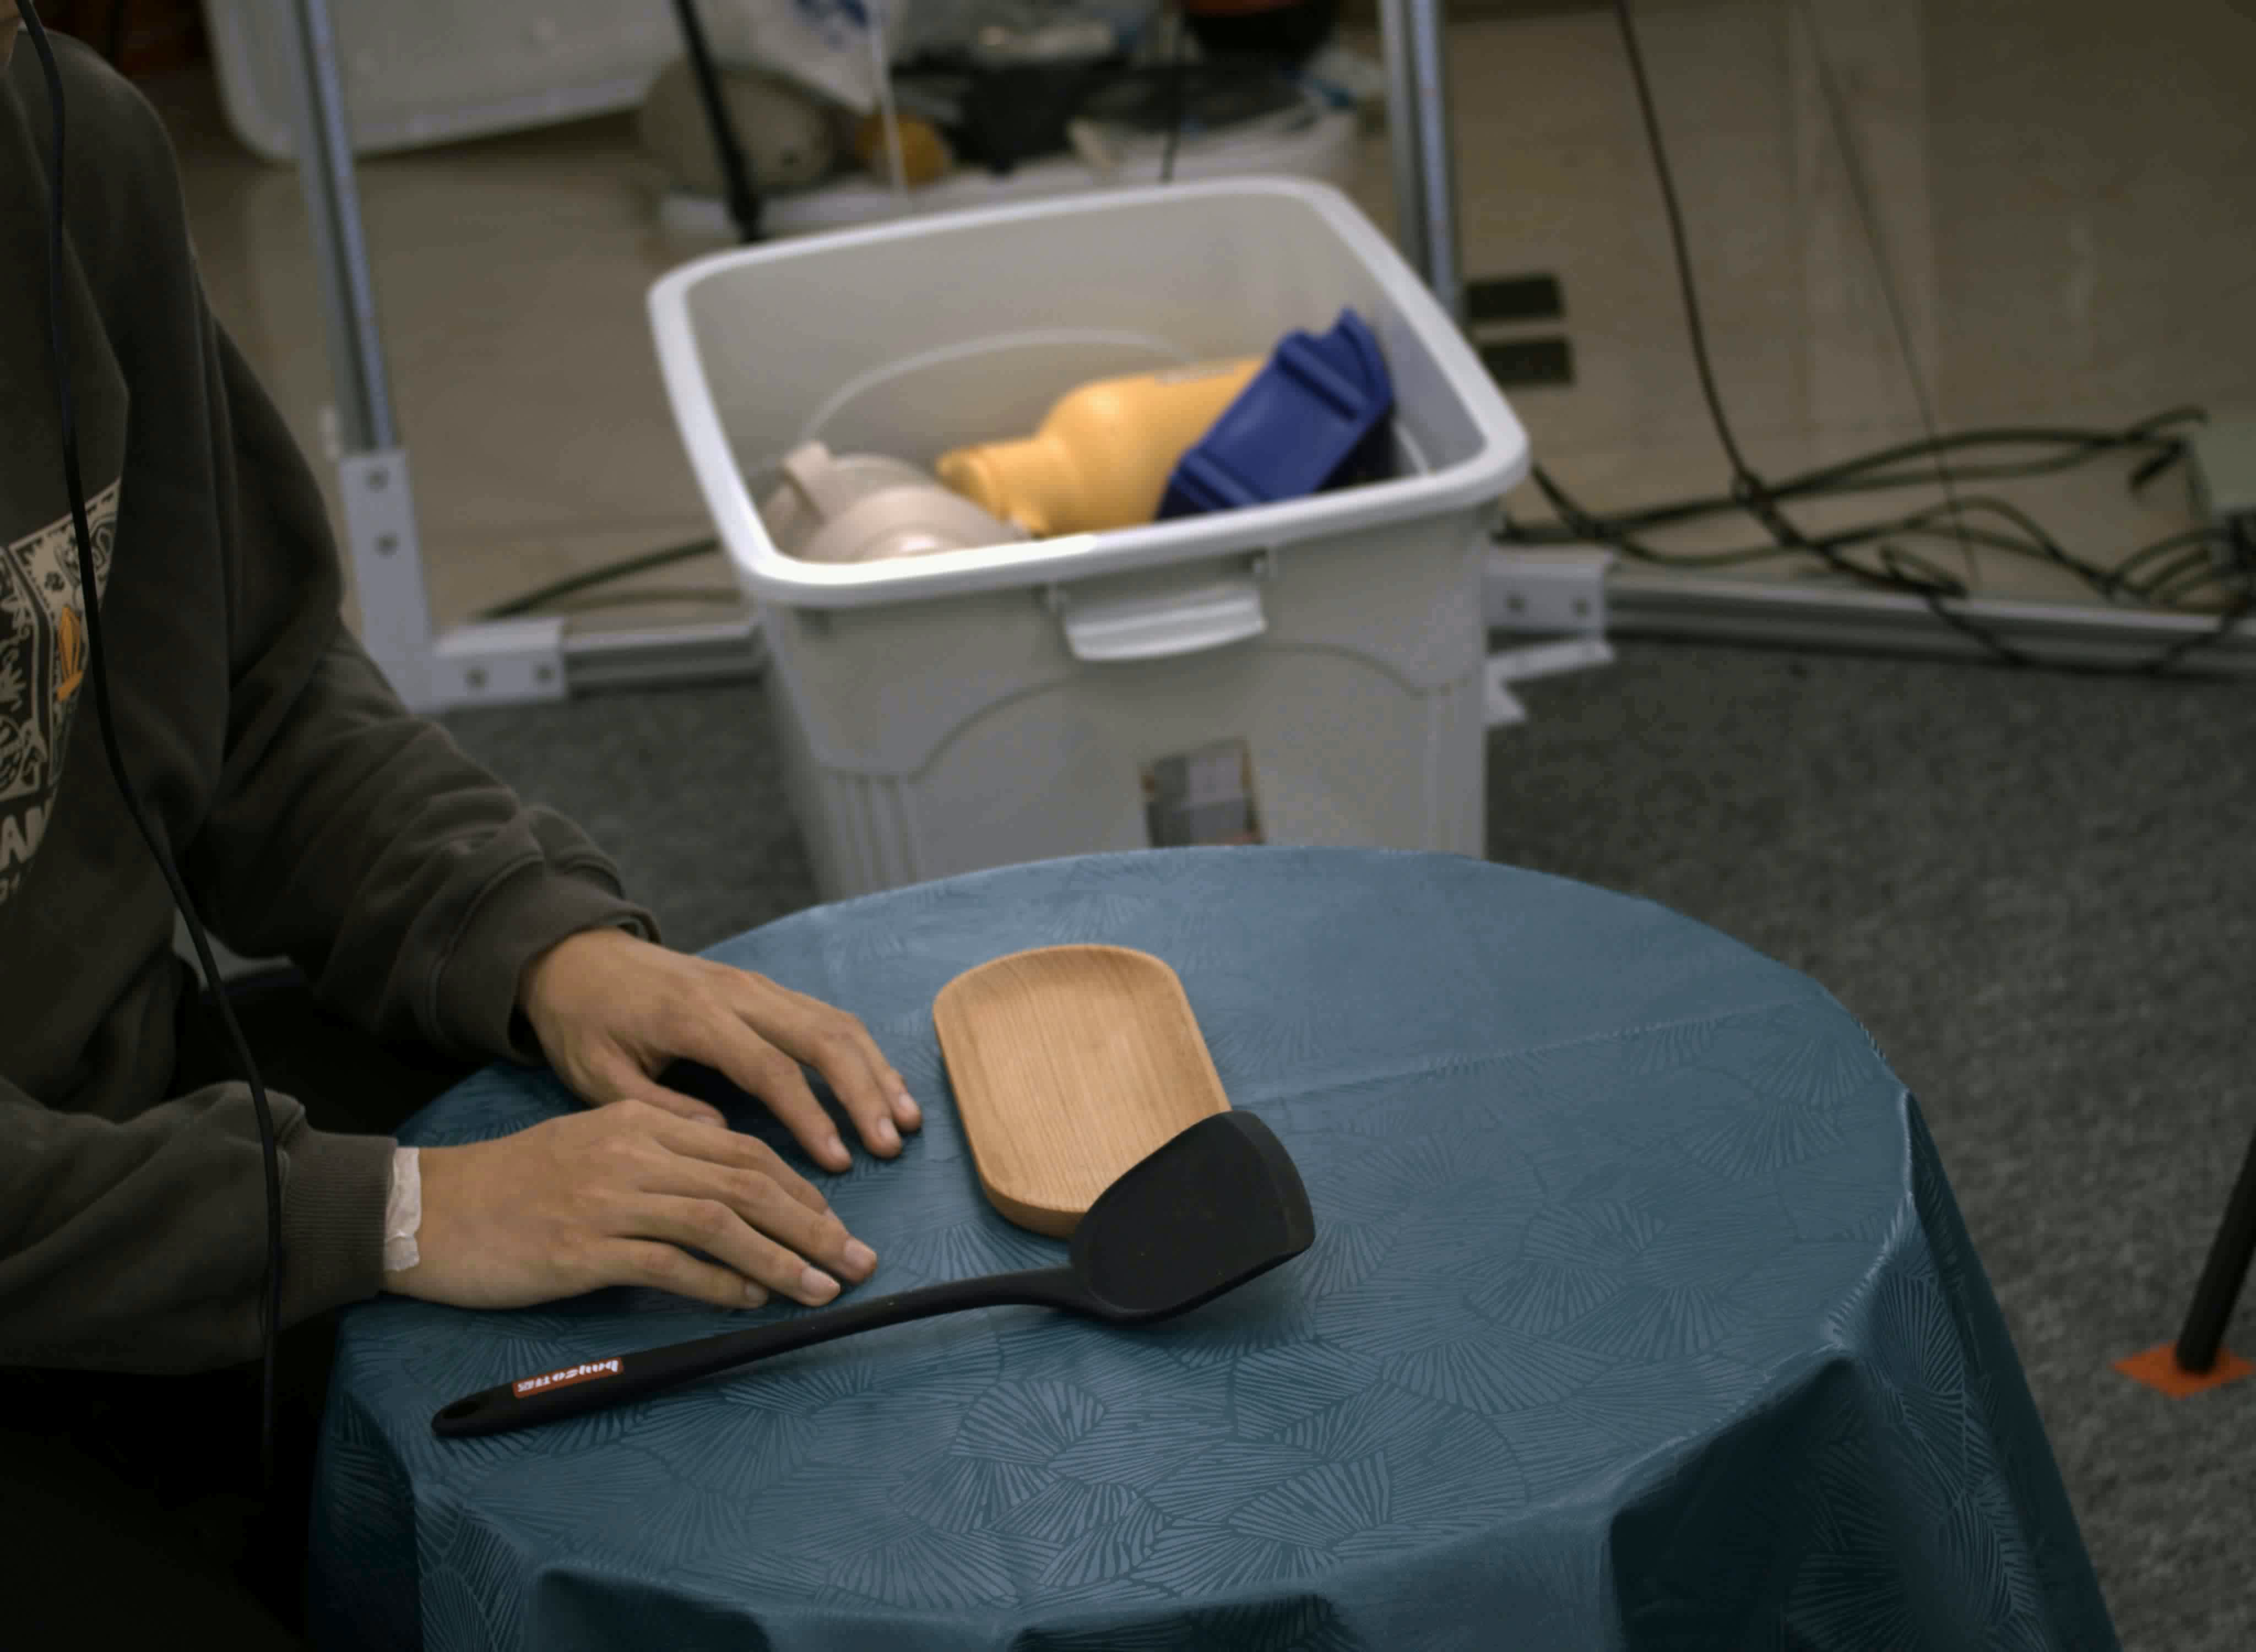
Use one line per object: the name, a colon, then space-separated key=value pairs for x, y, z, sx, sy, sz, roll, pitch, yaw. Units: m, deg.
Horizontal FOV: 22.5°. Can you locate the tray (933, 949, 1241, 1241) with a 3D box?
tray: x=-0.017 y=0.103 z=2.209 sx=0.101 sy=0.020 sz=0.228 roll=-10 pitch=26 yaw=-6

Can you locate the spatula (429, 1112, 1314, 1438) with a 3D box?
spatula: x=-0.094 y=0.173 z=2.055 sx=0.325 sy=0.041 sz=0.098 roll=-11 pitch=30 yaw=-9
